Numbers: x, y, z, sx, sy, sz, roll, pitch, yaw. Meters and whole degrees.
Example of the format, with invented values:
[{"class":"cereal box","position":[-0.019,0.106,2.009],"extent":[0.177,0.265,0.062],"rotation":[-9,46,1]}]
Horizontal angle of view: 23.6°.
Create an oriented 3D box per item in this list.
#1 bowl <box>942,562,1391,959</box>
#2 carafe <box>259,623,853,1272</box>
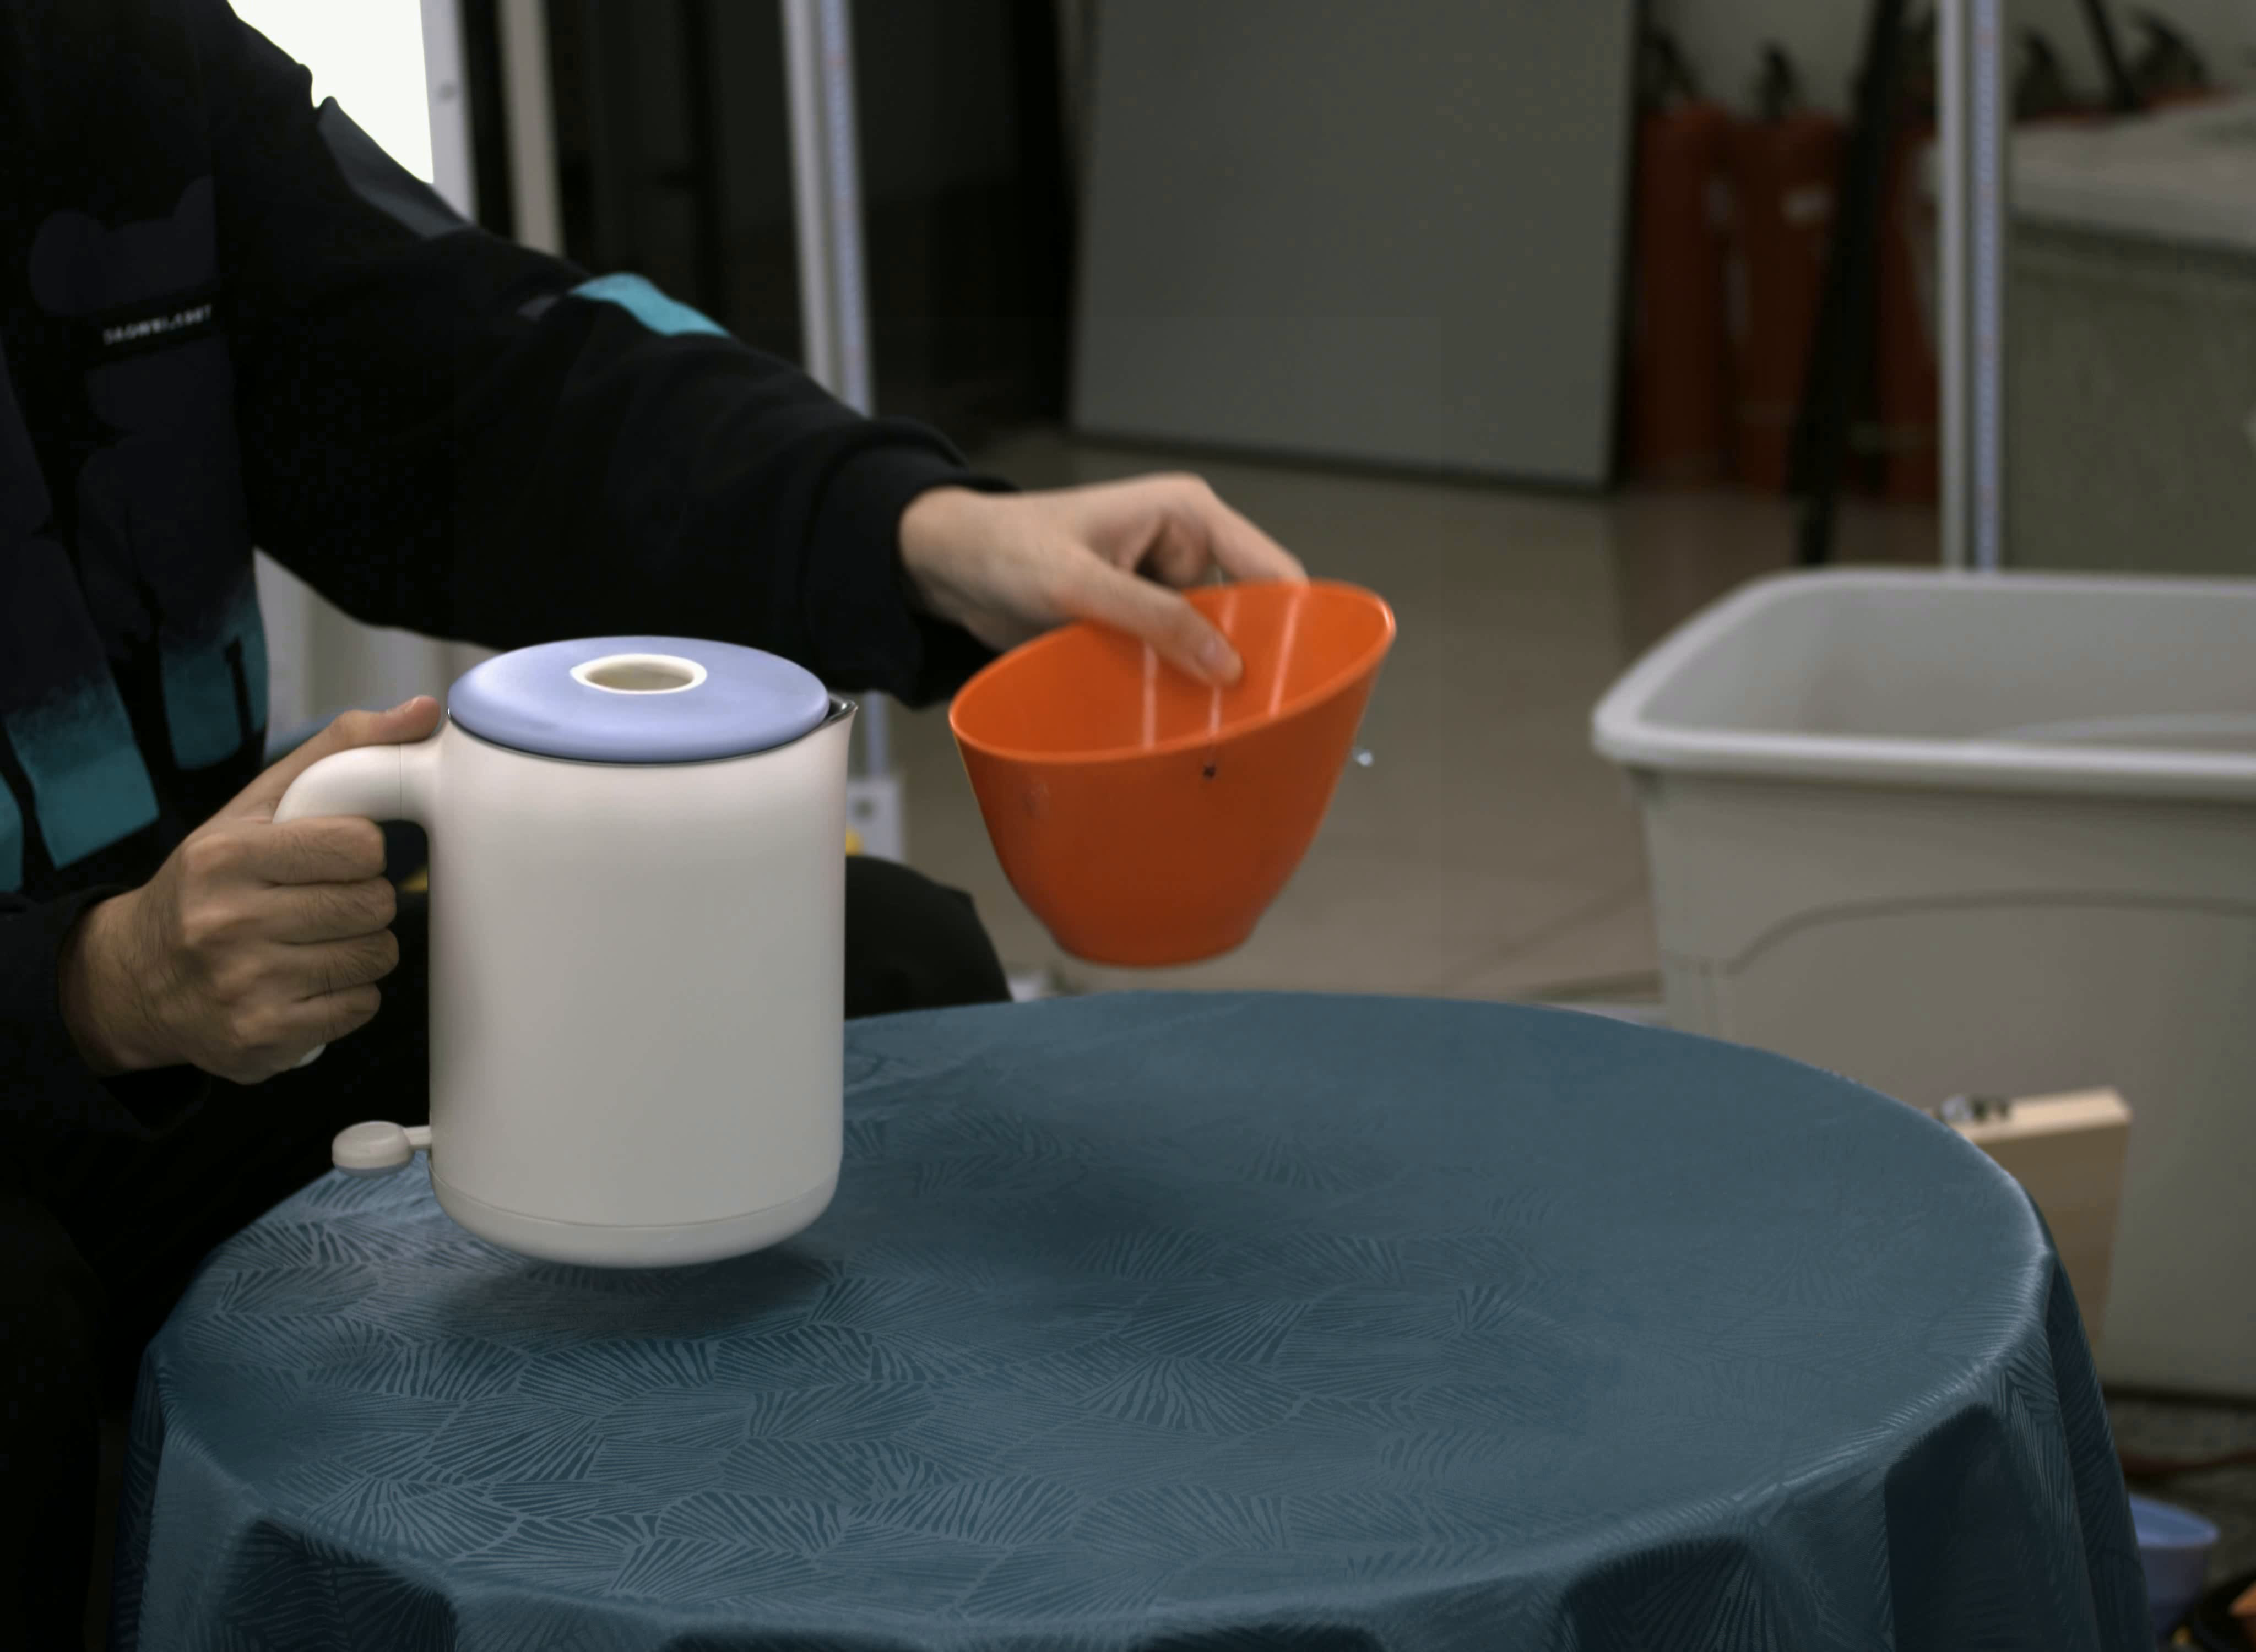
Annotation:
[{"class":"bowl","position":[0.014,-0.018,1.750],"extent":[0.146,0.105,0.148],"rotation":[-3,21,0]},{"class":"carafe","position":[-0.176,0.038,1.681],"extent":[0.188,0.184,0.133],"rotation":[-4,16,-9]}]
